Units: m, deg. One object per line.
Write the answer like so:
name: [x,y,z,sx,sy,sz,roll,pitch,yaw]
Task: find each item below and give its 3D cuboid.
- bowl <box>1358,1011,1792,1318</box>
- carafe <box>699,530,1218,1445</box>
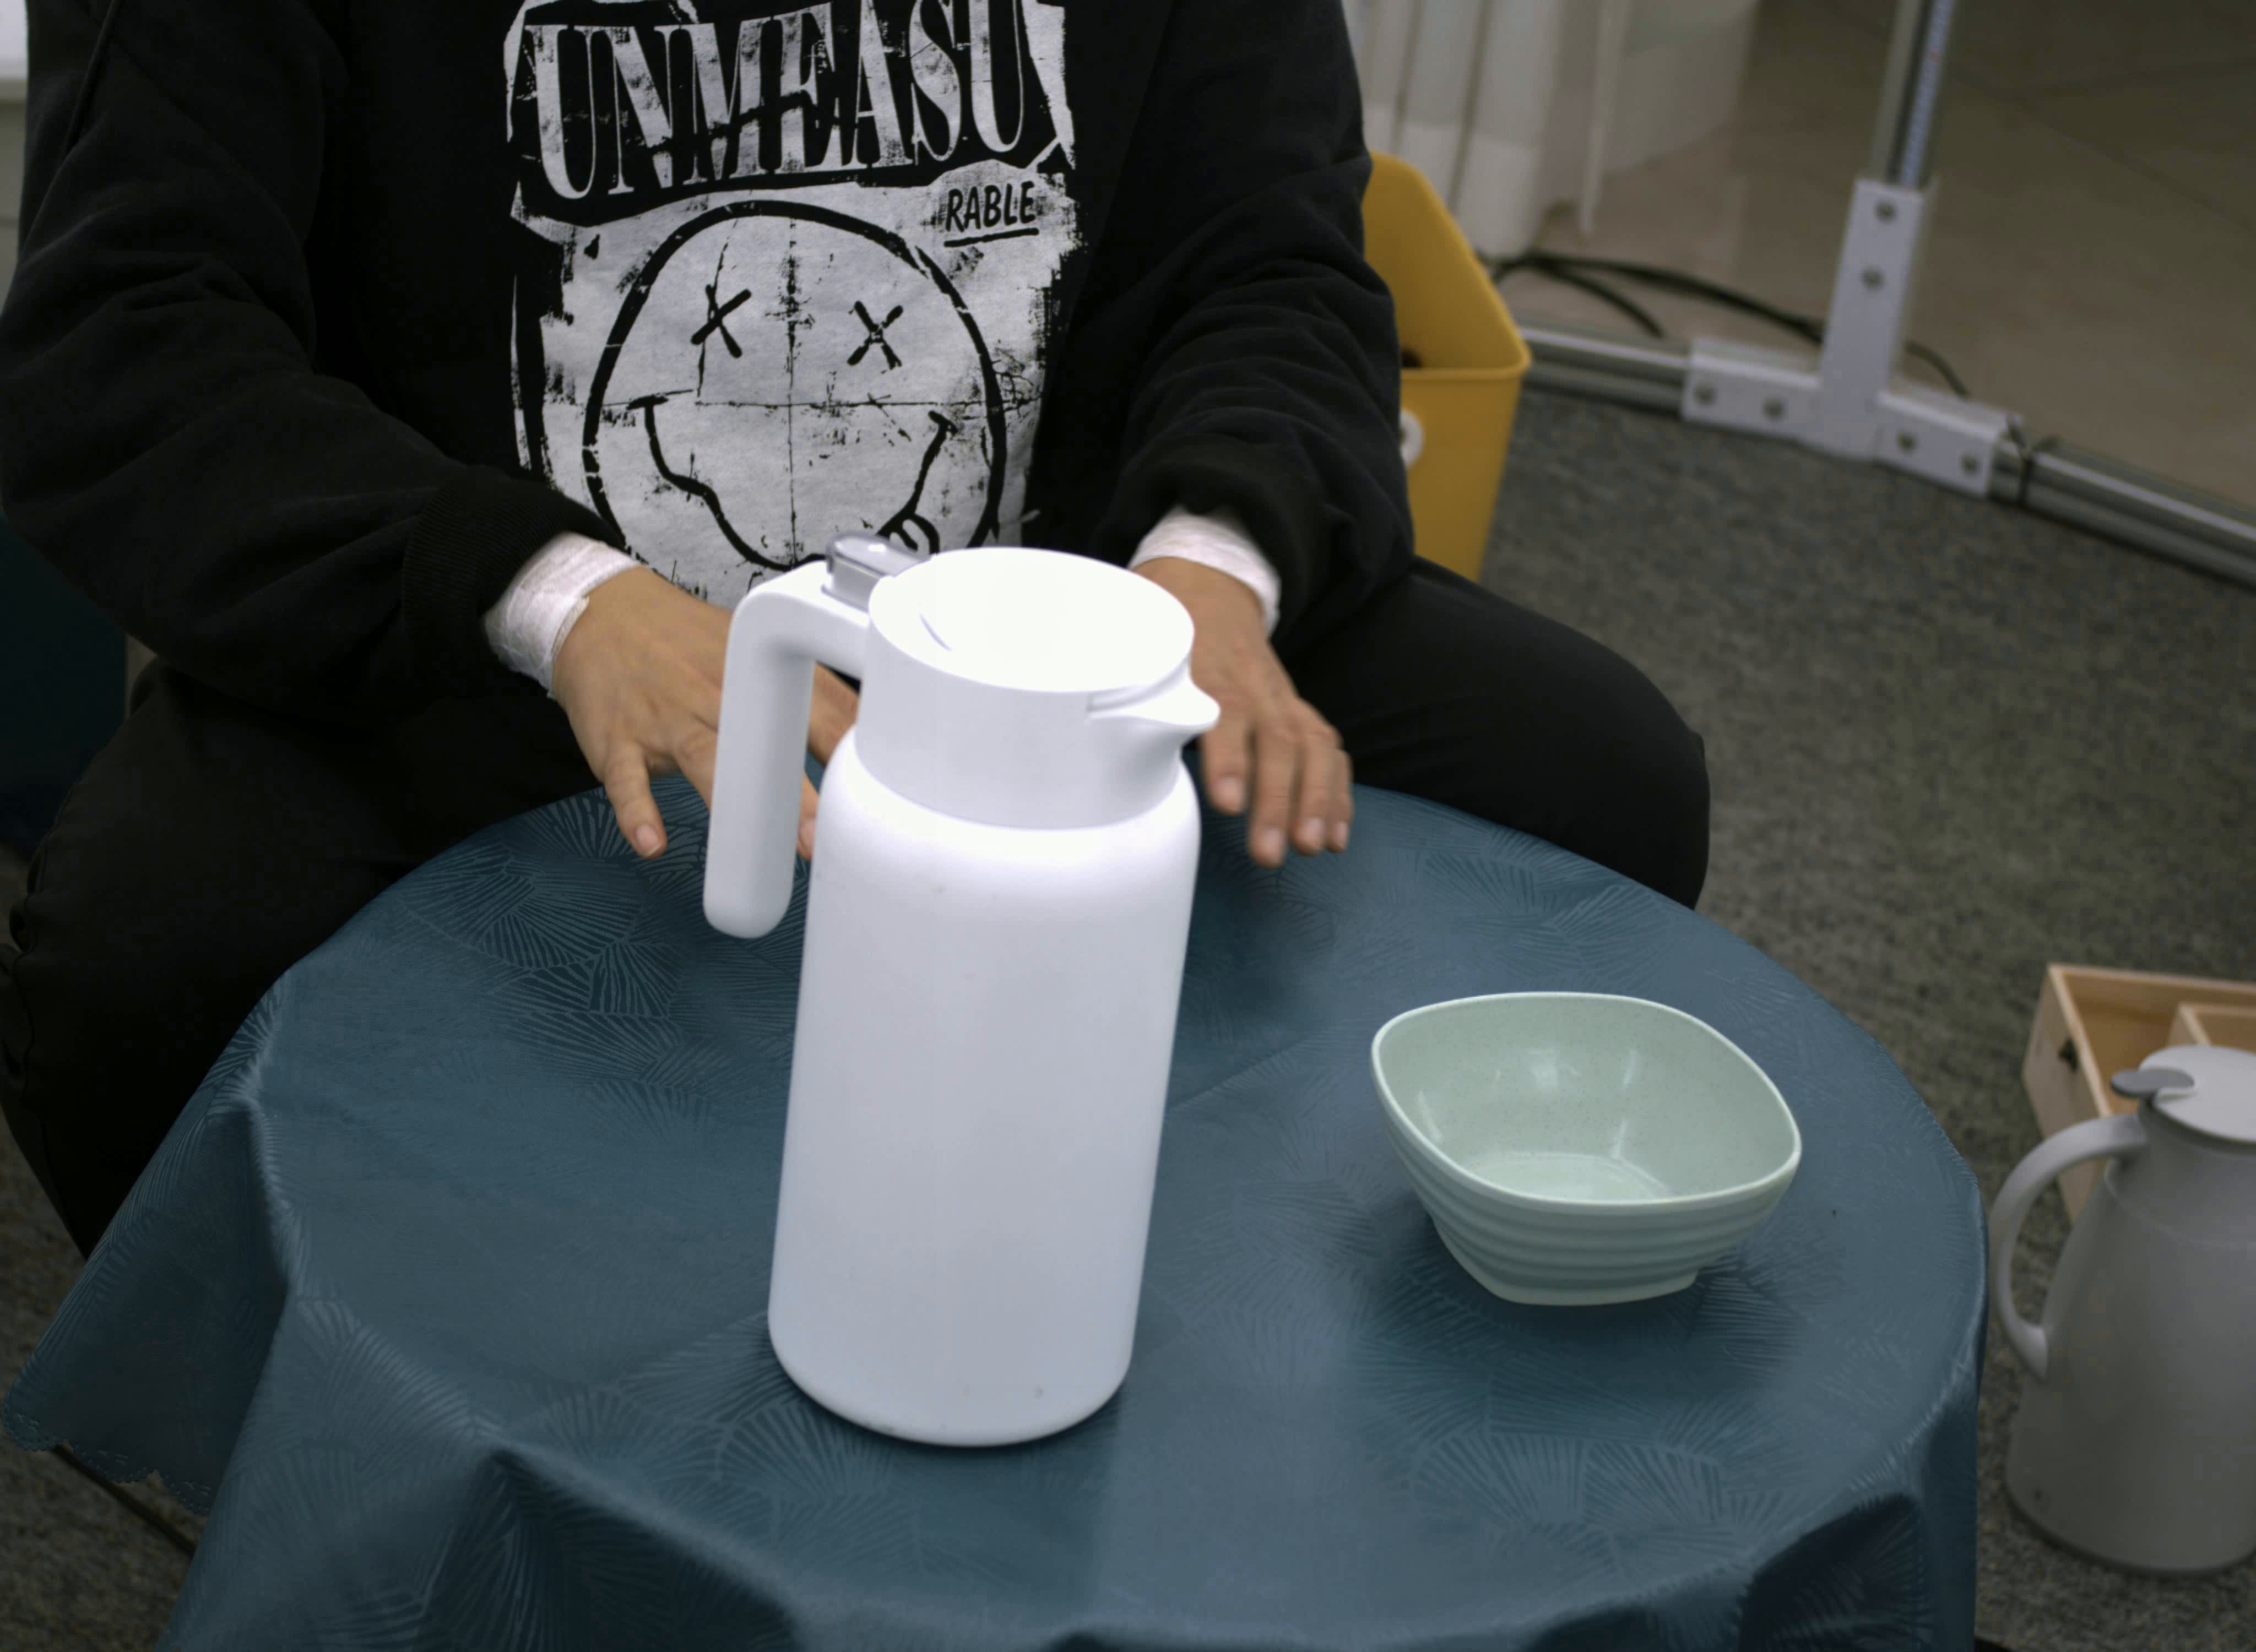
bowl: [0.147,0.120,1.795,0.151,0.058,0.152,4,25,-2]
carafe: [-0.059,0.047,1.650,0.174,0.268,0.123,22,32,28]
